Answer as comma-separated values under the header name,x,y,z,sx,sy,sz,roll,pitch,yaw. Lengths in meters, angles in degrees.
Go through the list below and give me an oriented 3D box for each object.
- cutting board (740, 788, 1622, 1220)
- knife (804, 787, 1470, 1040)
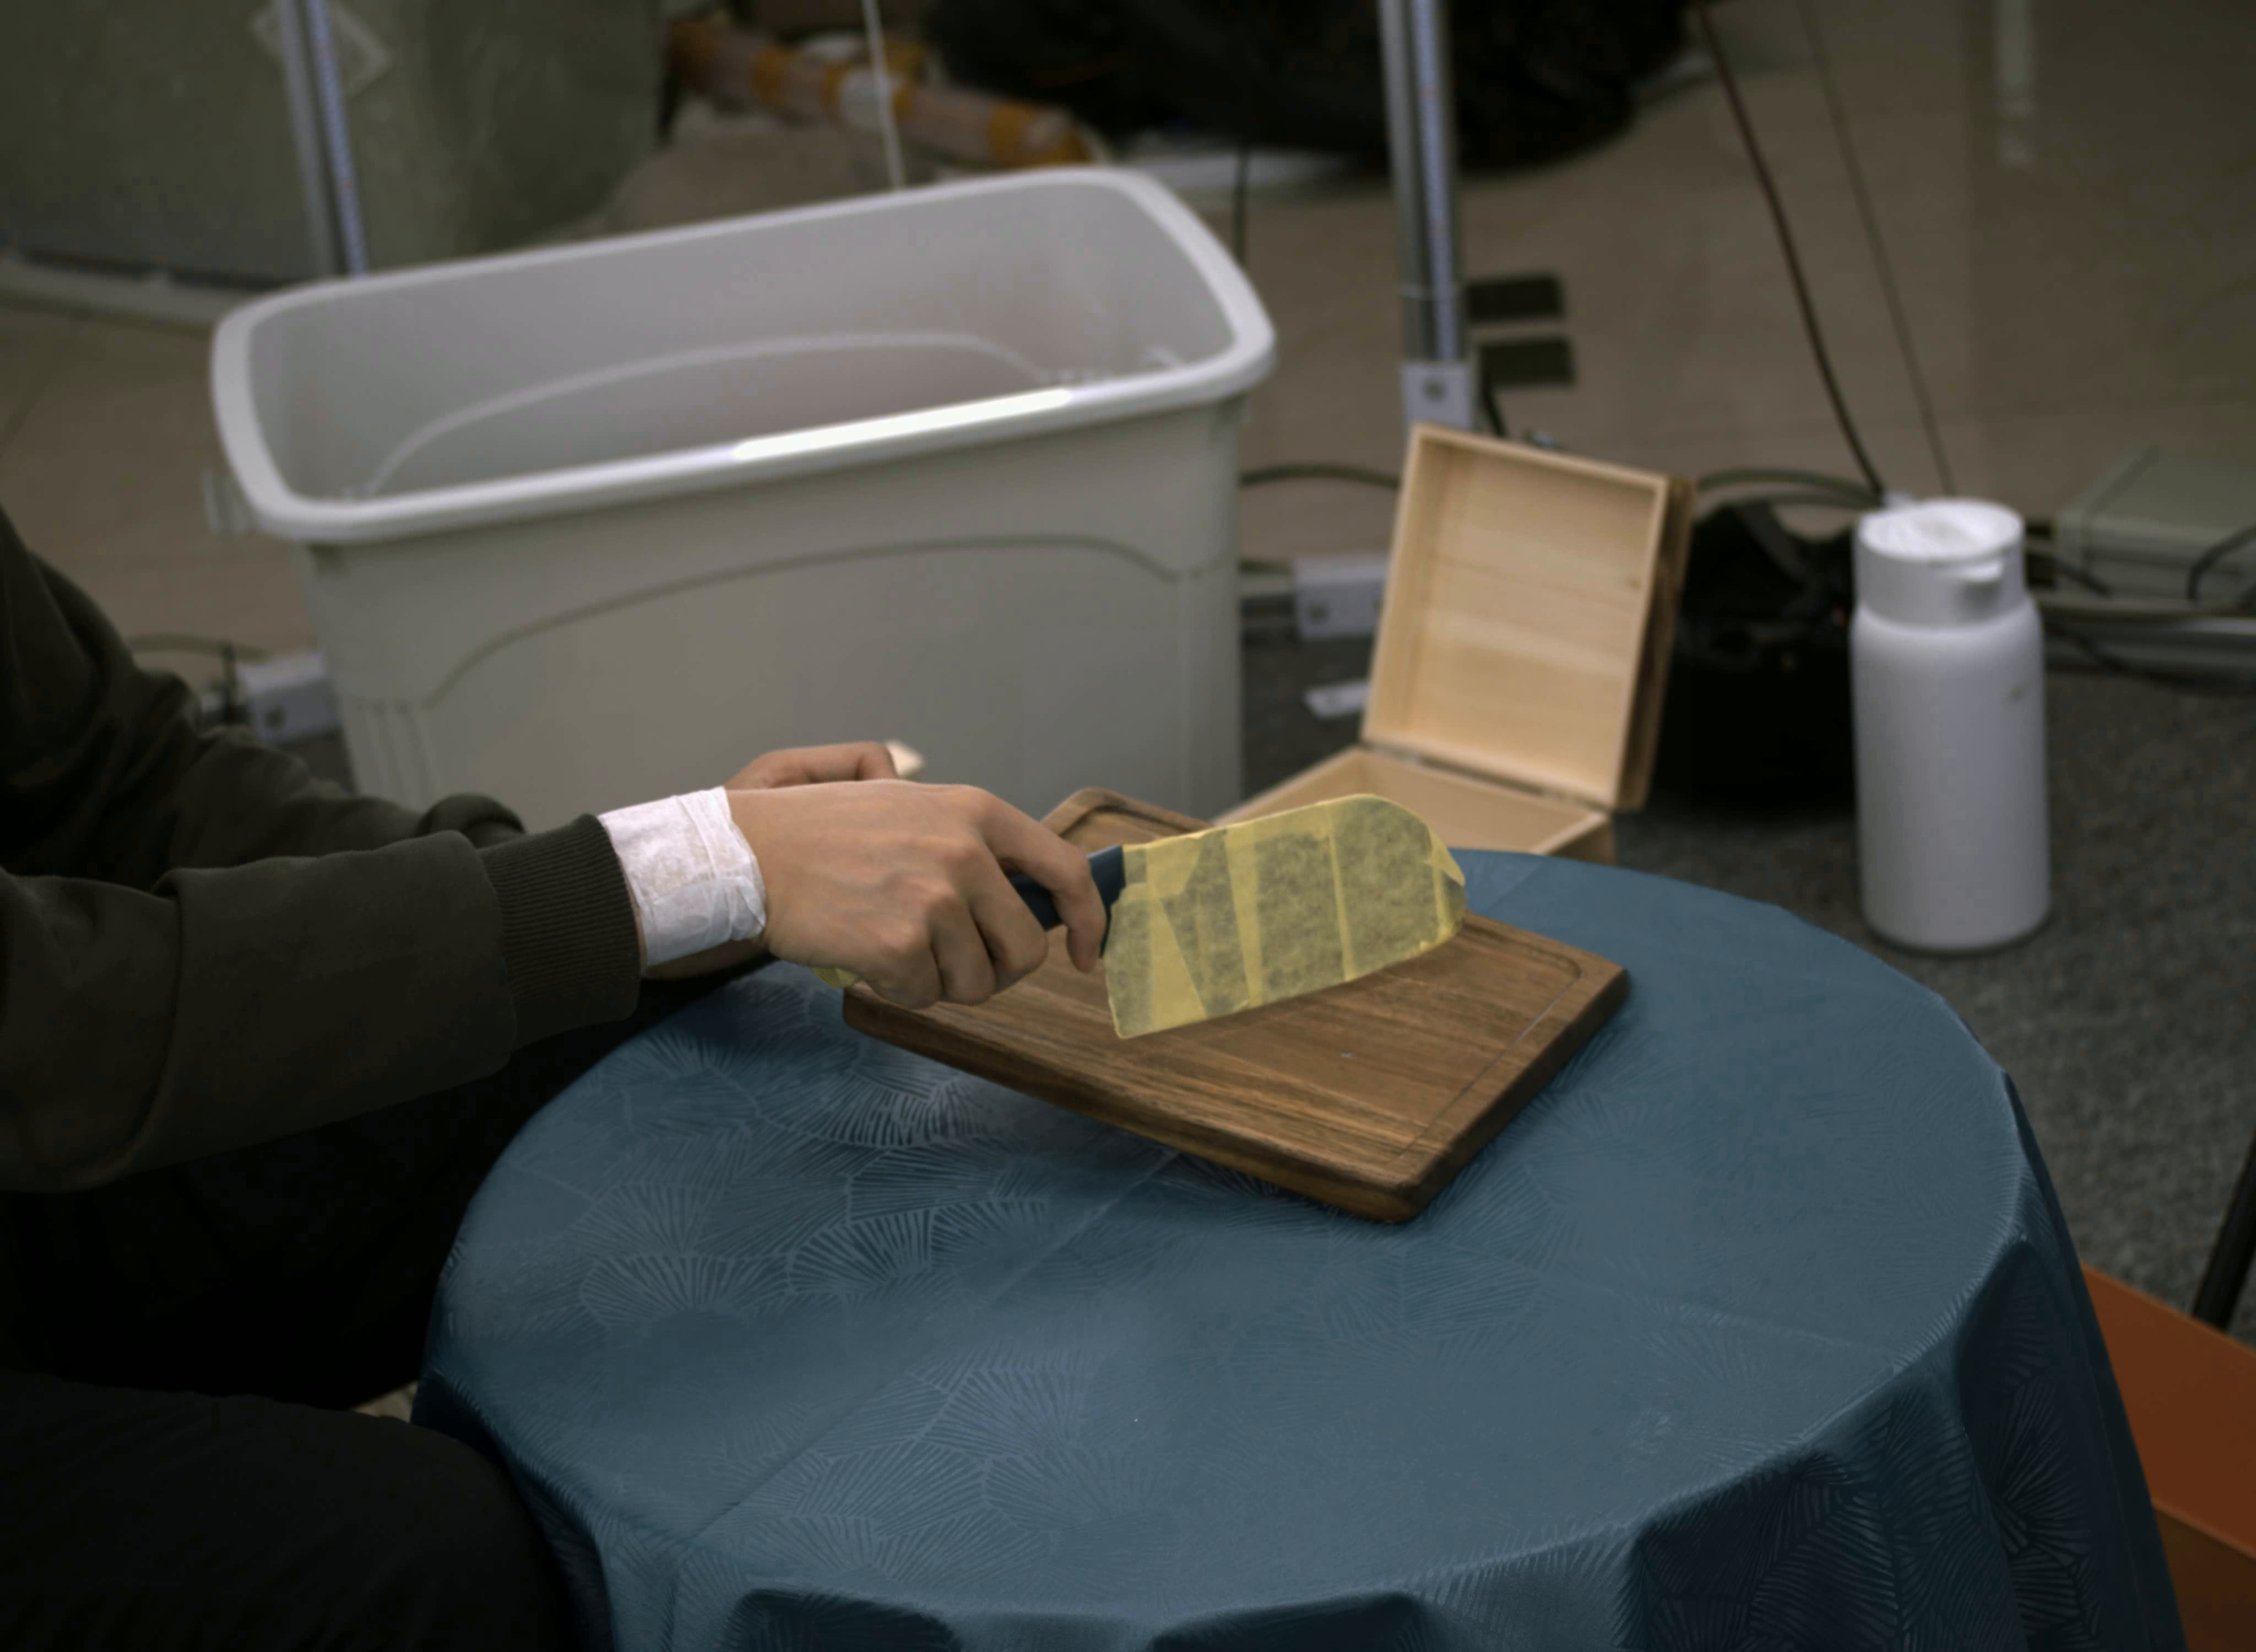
name,x,y,z,sx,sy,sz,roll,pitch,yaw
cutting board,0.000,0.051,2.237,0.350,0.023,0.198,19,33,23
knife,0.009,0.039,2.165,0.288,0.081,0.027,-10,8,-27
